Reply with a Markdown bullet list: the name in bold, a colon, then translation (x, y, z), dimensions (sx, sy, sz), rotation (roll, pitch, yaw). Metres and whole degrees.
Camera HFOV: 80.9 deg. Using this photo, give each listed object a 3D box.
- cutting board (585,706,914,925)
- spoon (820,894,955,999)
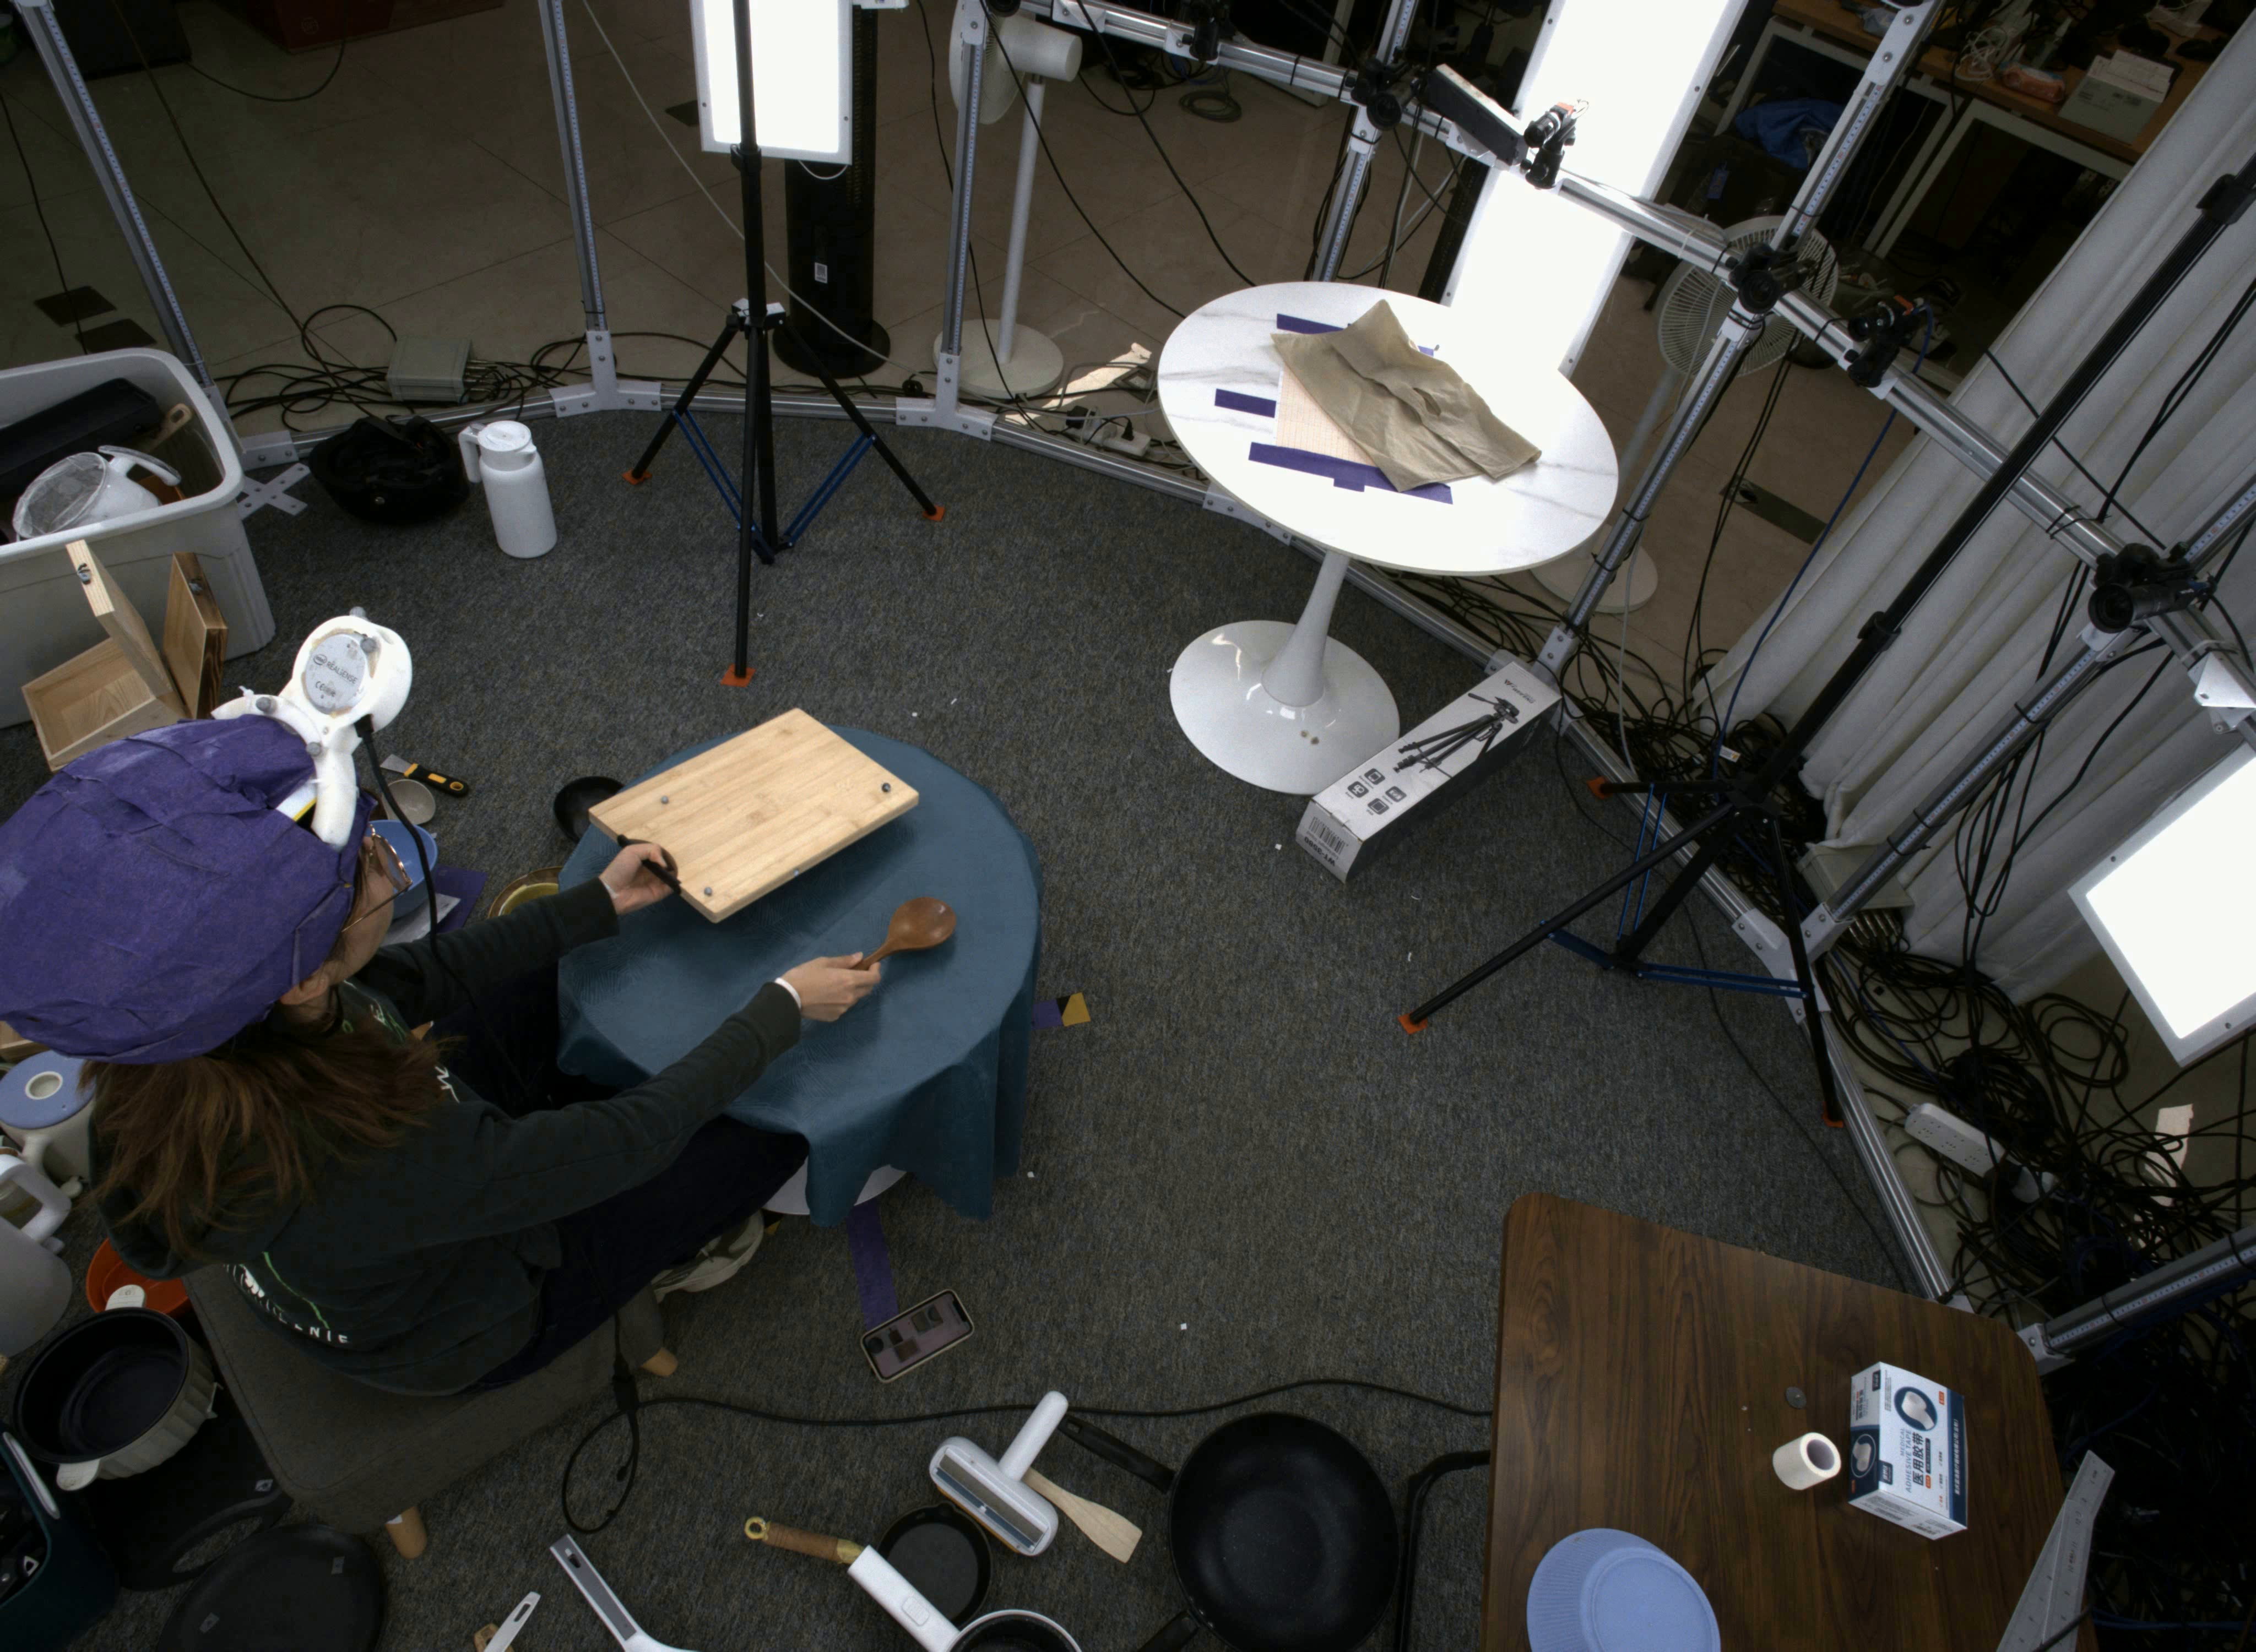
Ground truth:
- **cutting board**: translation (-0.477, -0.025, 1.647), dimensions (0.244, 0.024, 0.349), rotation (33, 43, 20)
- **spoon**: translation (-0.296, 0.148, 1.596), dimensions (0.074, 0.017, 0.216), rotation (41, 43, 11)
